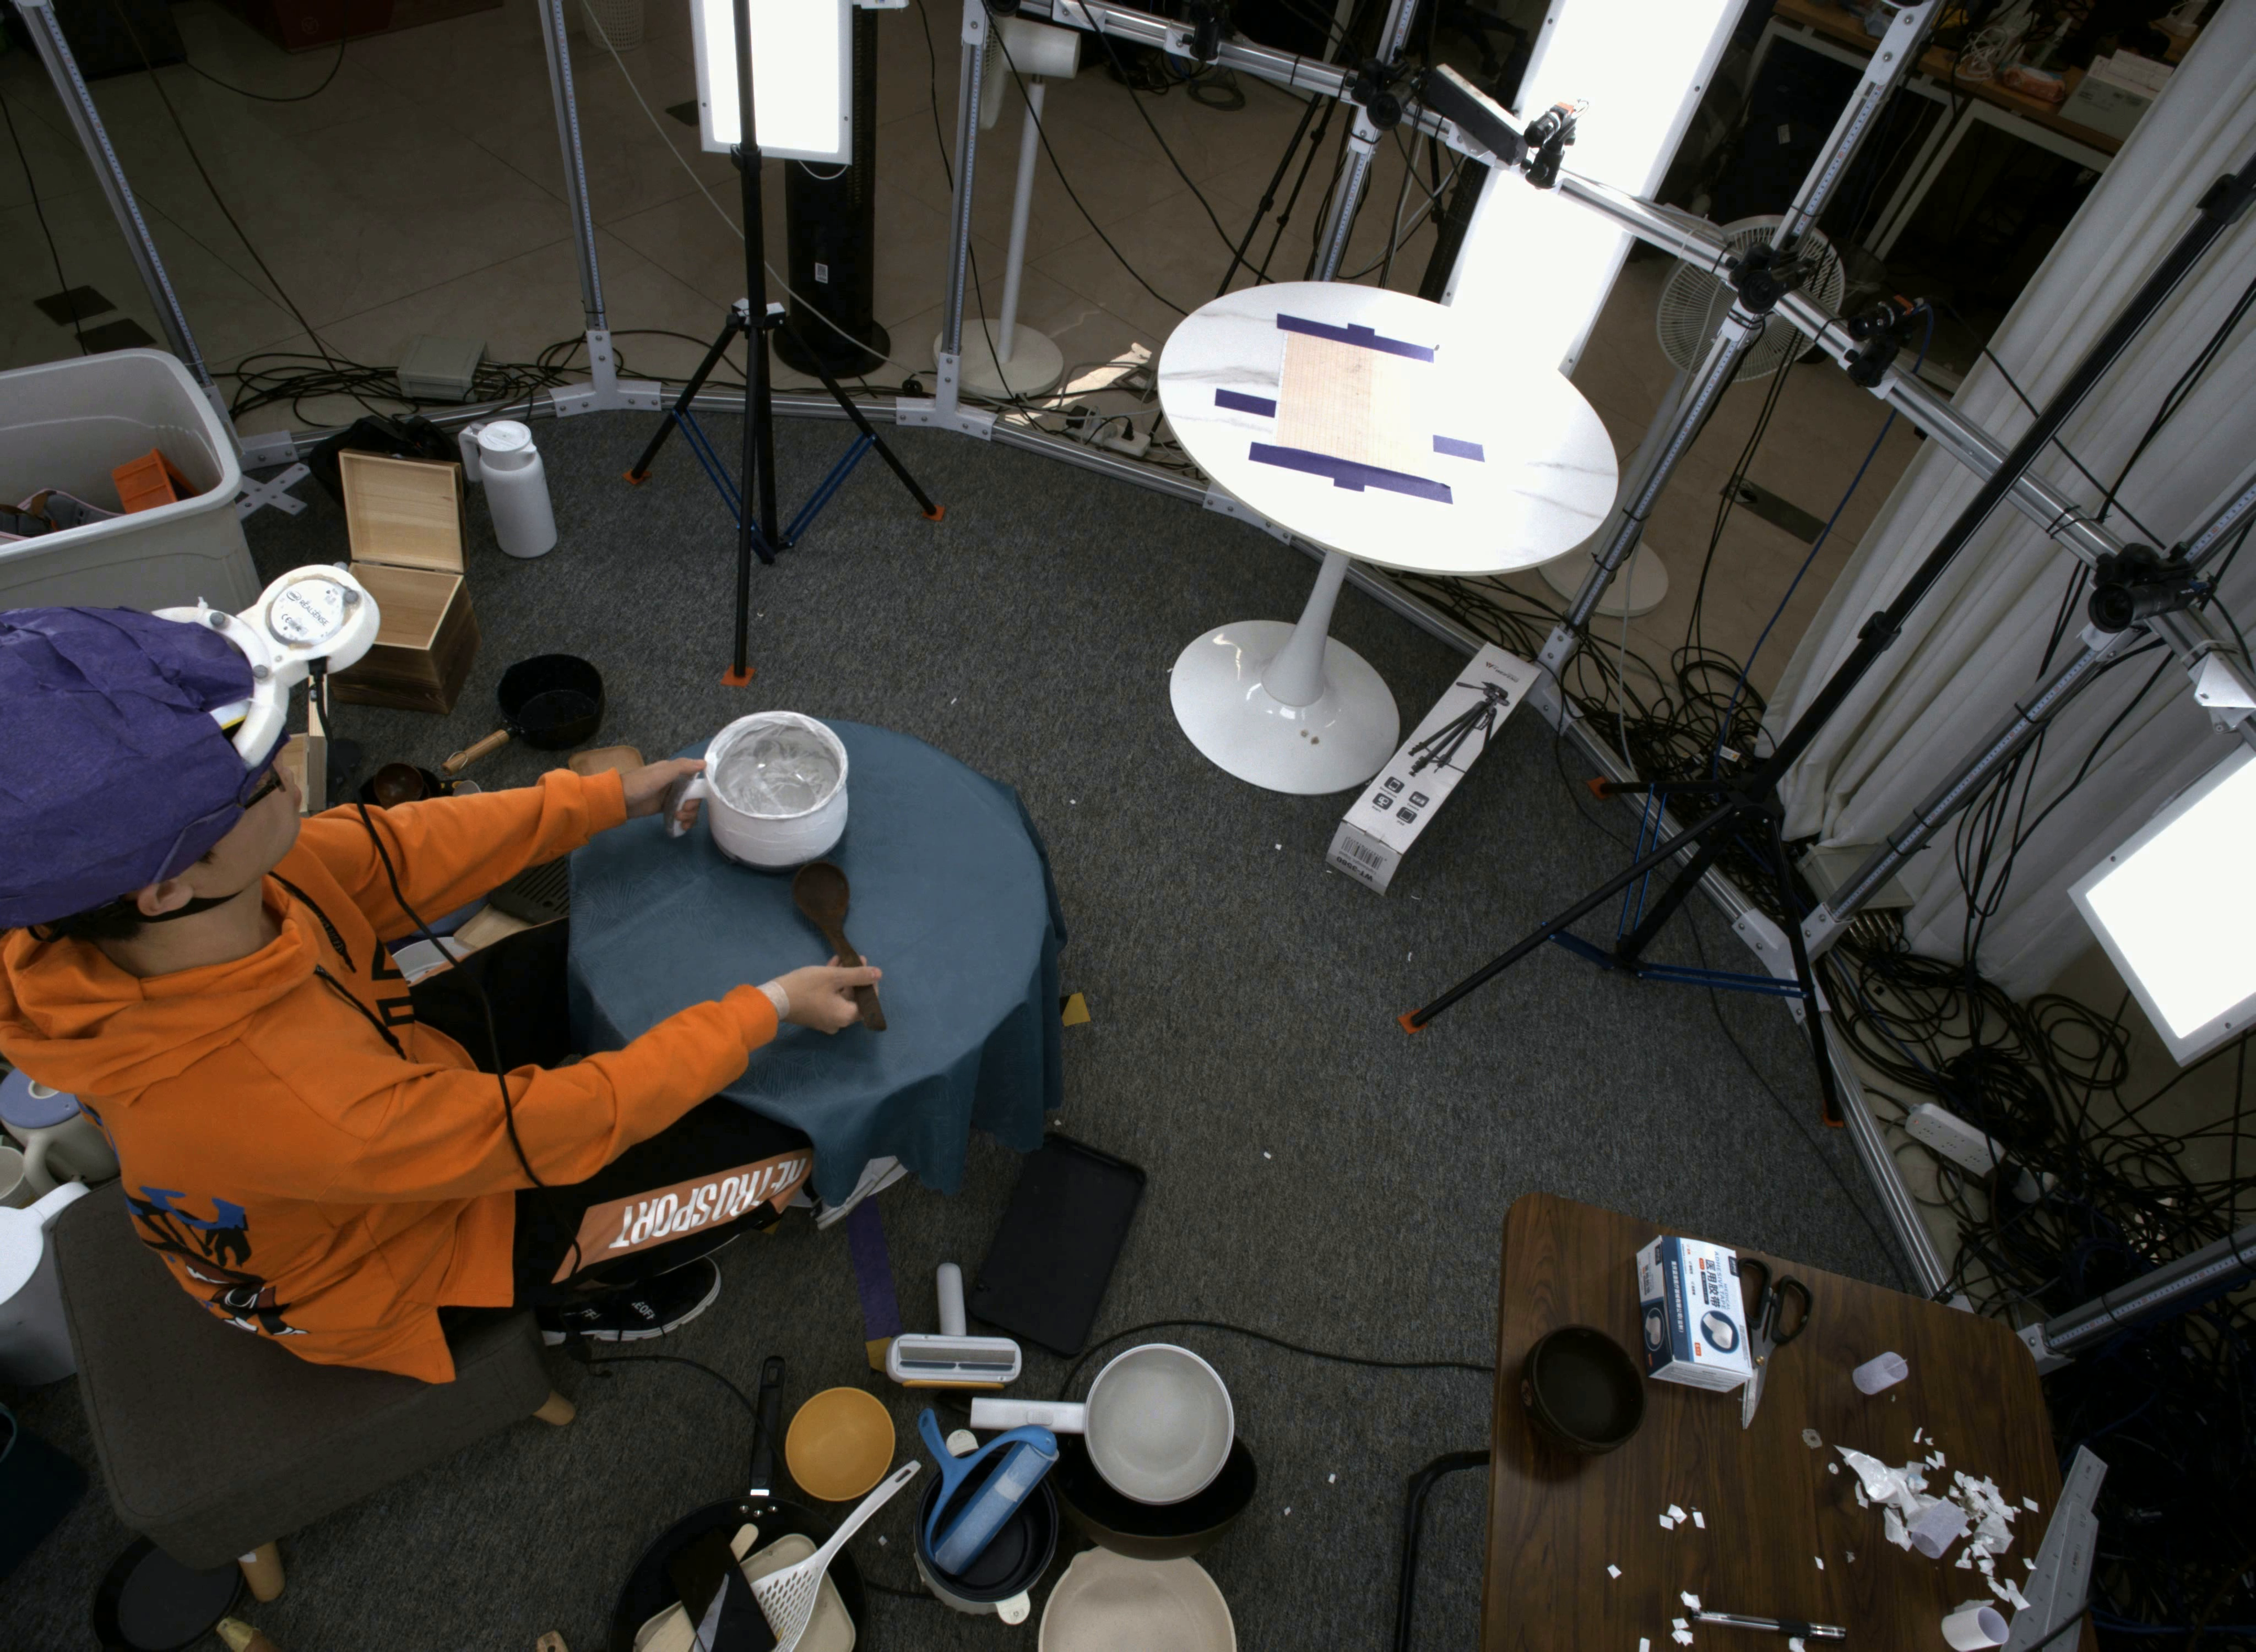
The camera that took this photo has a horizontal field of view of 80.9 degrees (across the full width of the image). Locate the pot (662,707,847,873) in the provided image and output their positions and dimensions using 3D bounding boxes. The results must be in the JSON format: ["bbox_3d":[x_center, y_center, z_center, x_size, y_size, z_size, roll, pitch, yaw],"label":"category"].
[{"bbox_3d":[-0.474,-0.038,1.640,0.235,0.139,0.174,-8,55,-20],"label":"pot"}]

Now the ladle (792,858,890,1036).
[{"bbox_3d":[-0.338,0.136,1.557,0.076,0.073,0.264,-10,37,-26],"label":"ladle"}]
